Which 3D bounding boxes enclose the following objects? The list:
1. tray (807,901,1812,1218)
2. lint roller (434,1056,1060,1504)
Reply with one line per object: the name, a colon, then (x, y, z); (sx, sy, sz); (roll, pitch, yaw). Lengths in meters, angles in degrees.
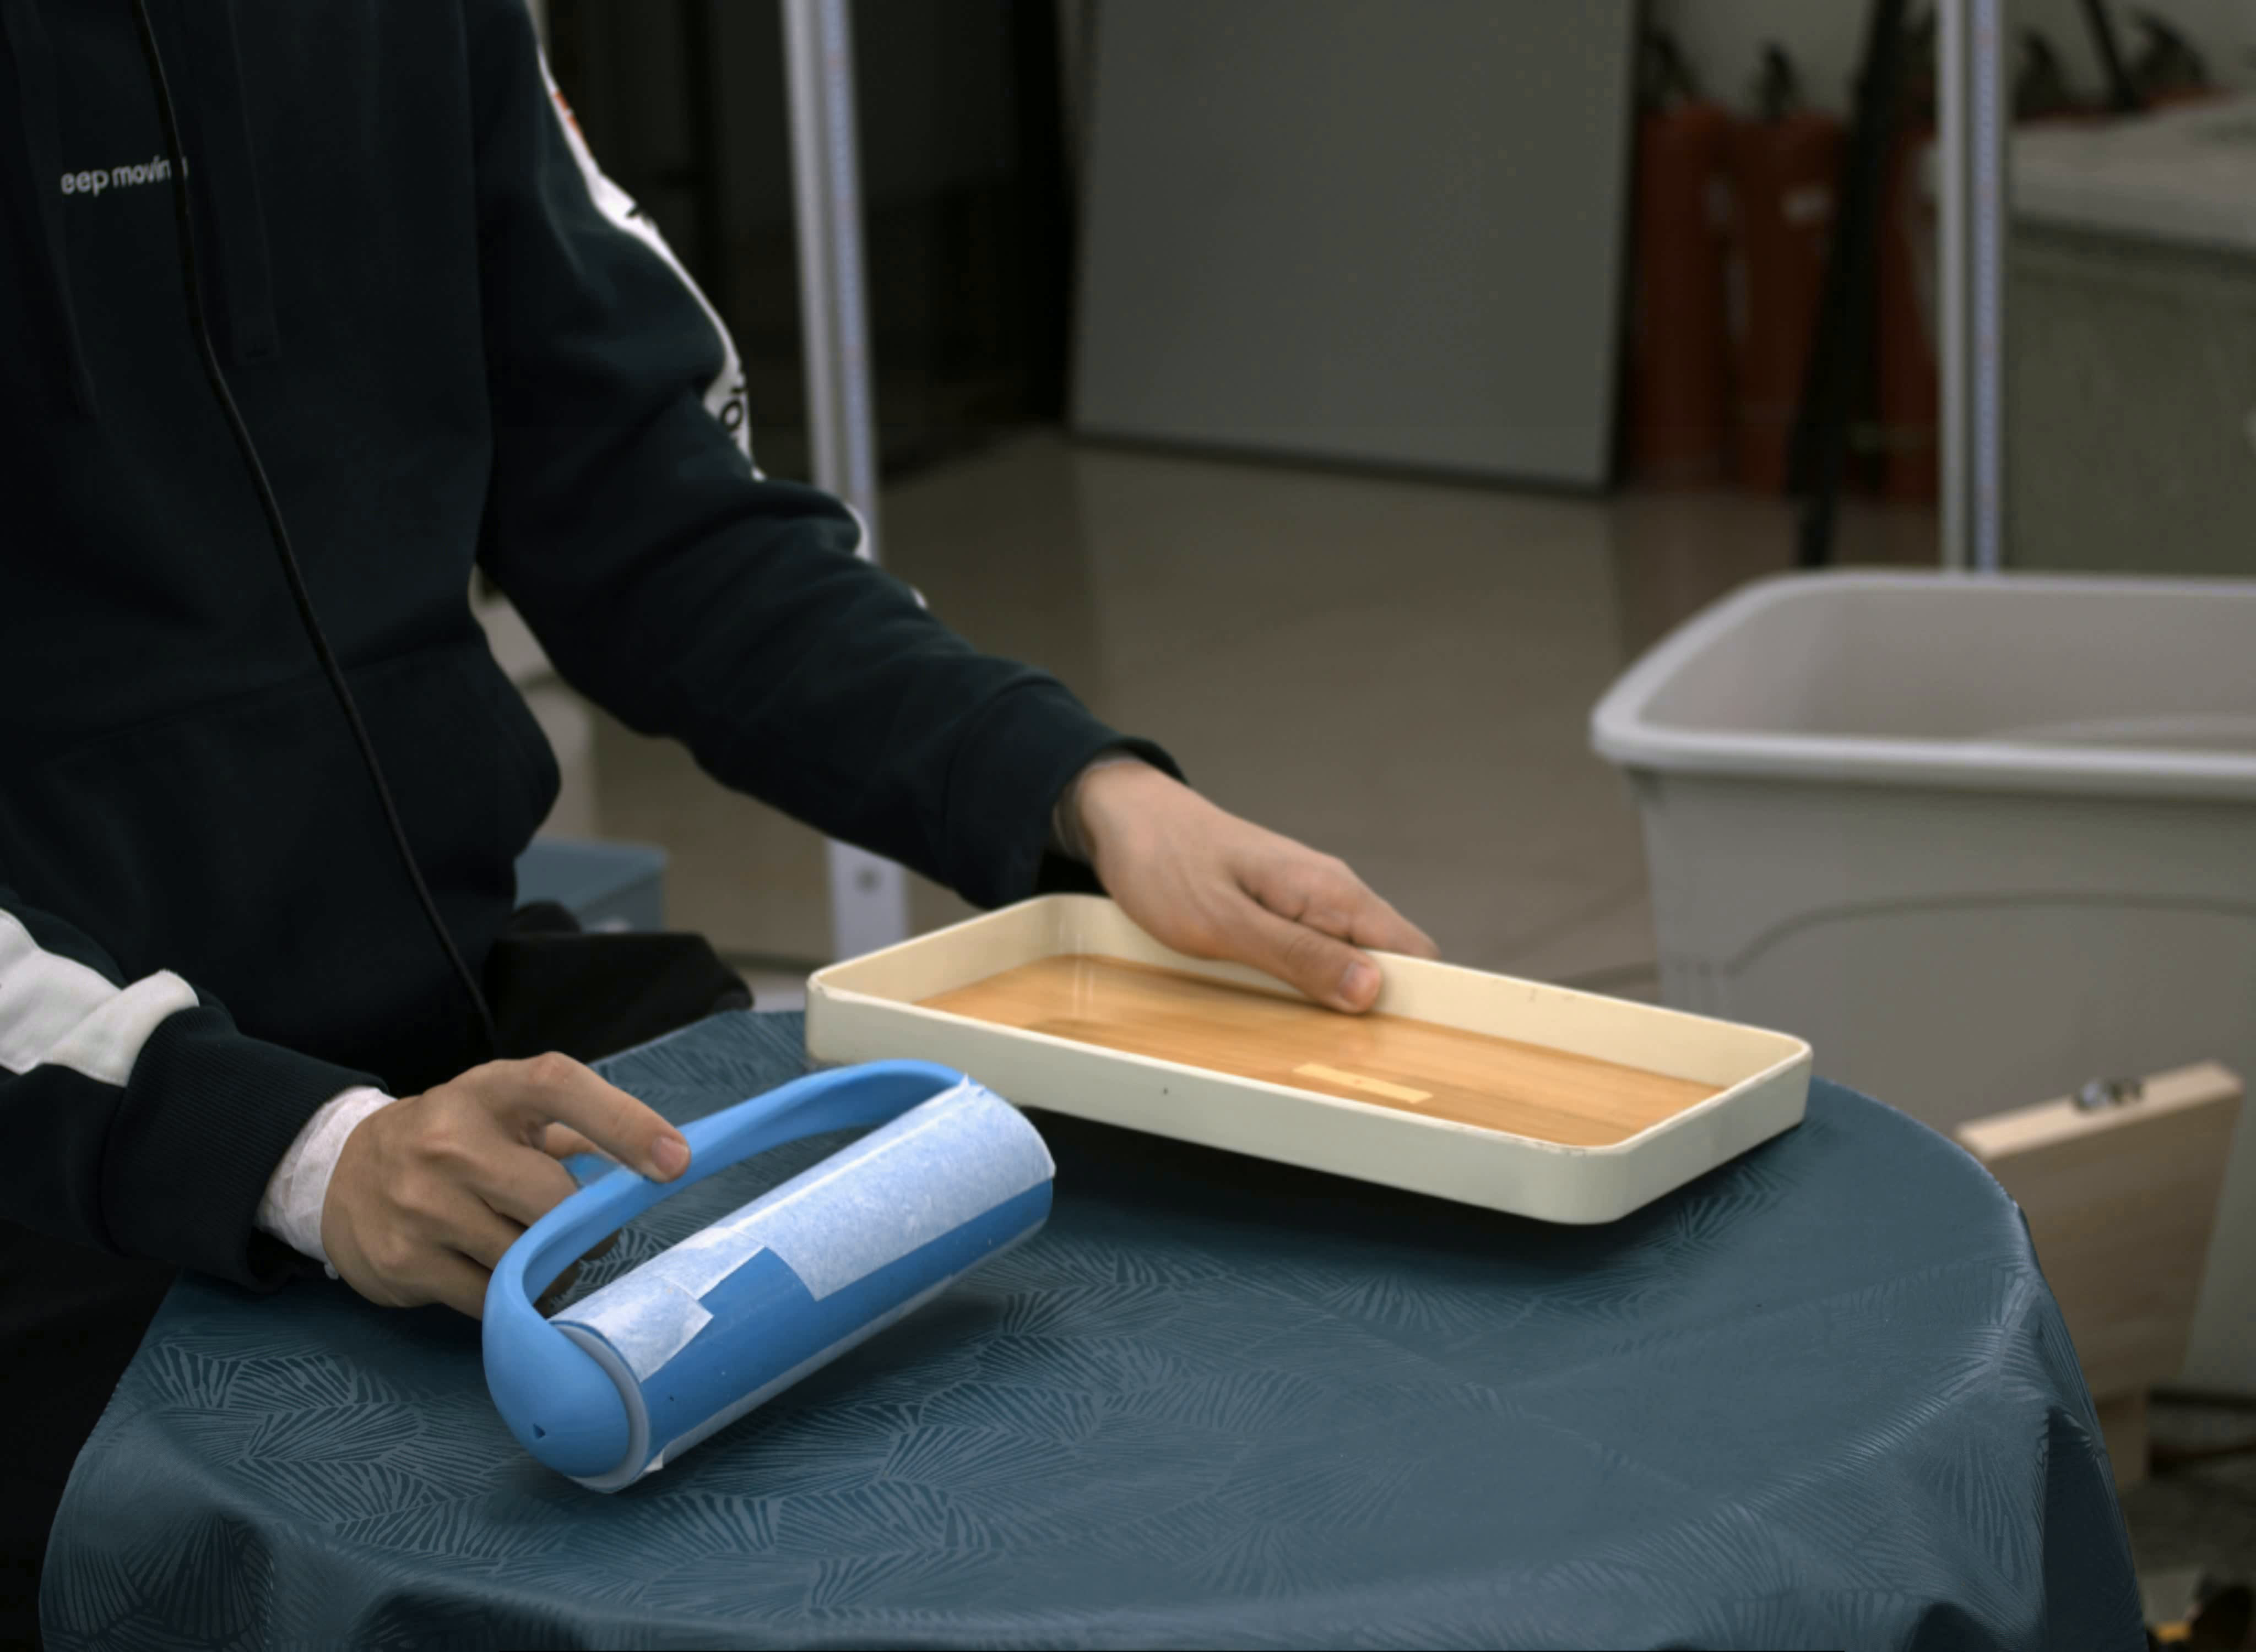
tray: (0.060, 0.075, 1.794); (0.301, 0.028, 0.188); (10, 13, 29)
lint roller: (-0.144, 0.130, 1.631); (0.181, 0.068, 0.226); (4, 24, 33)
